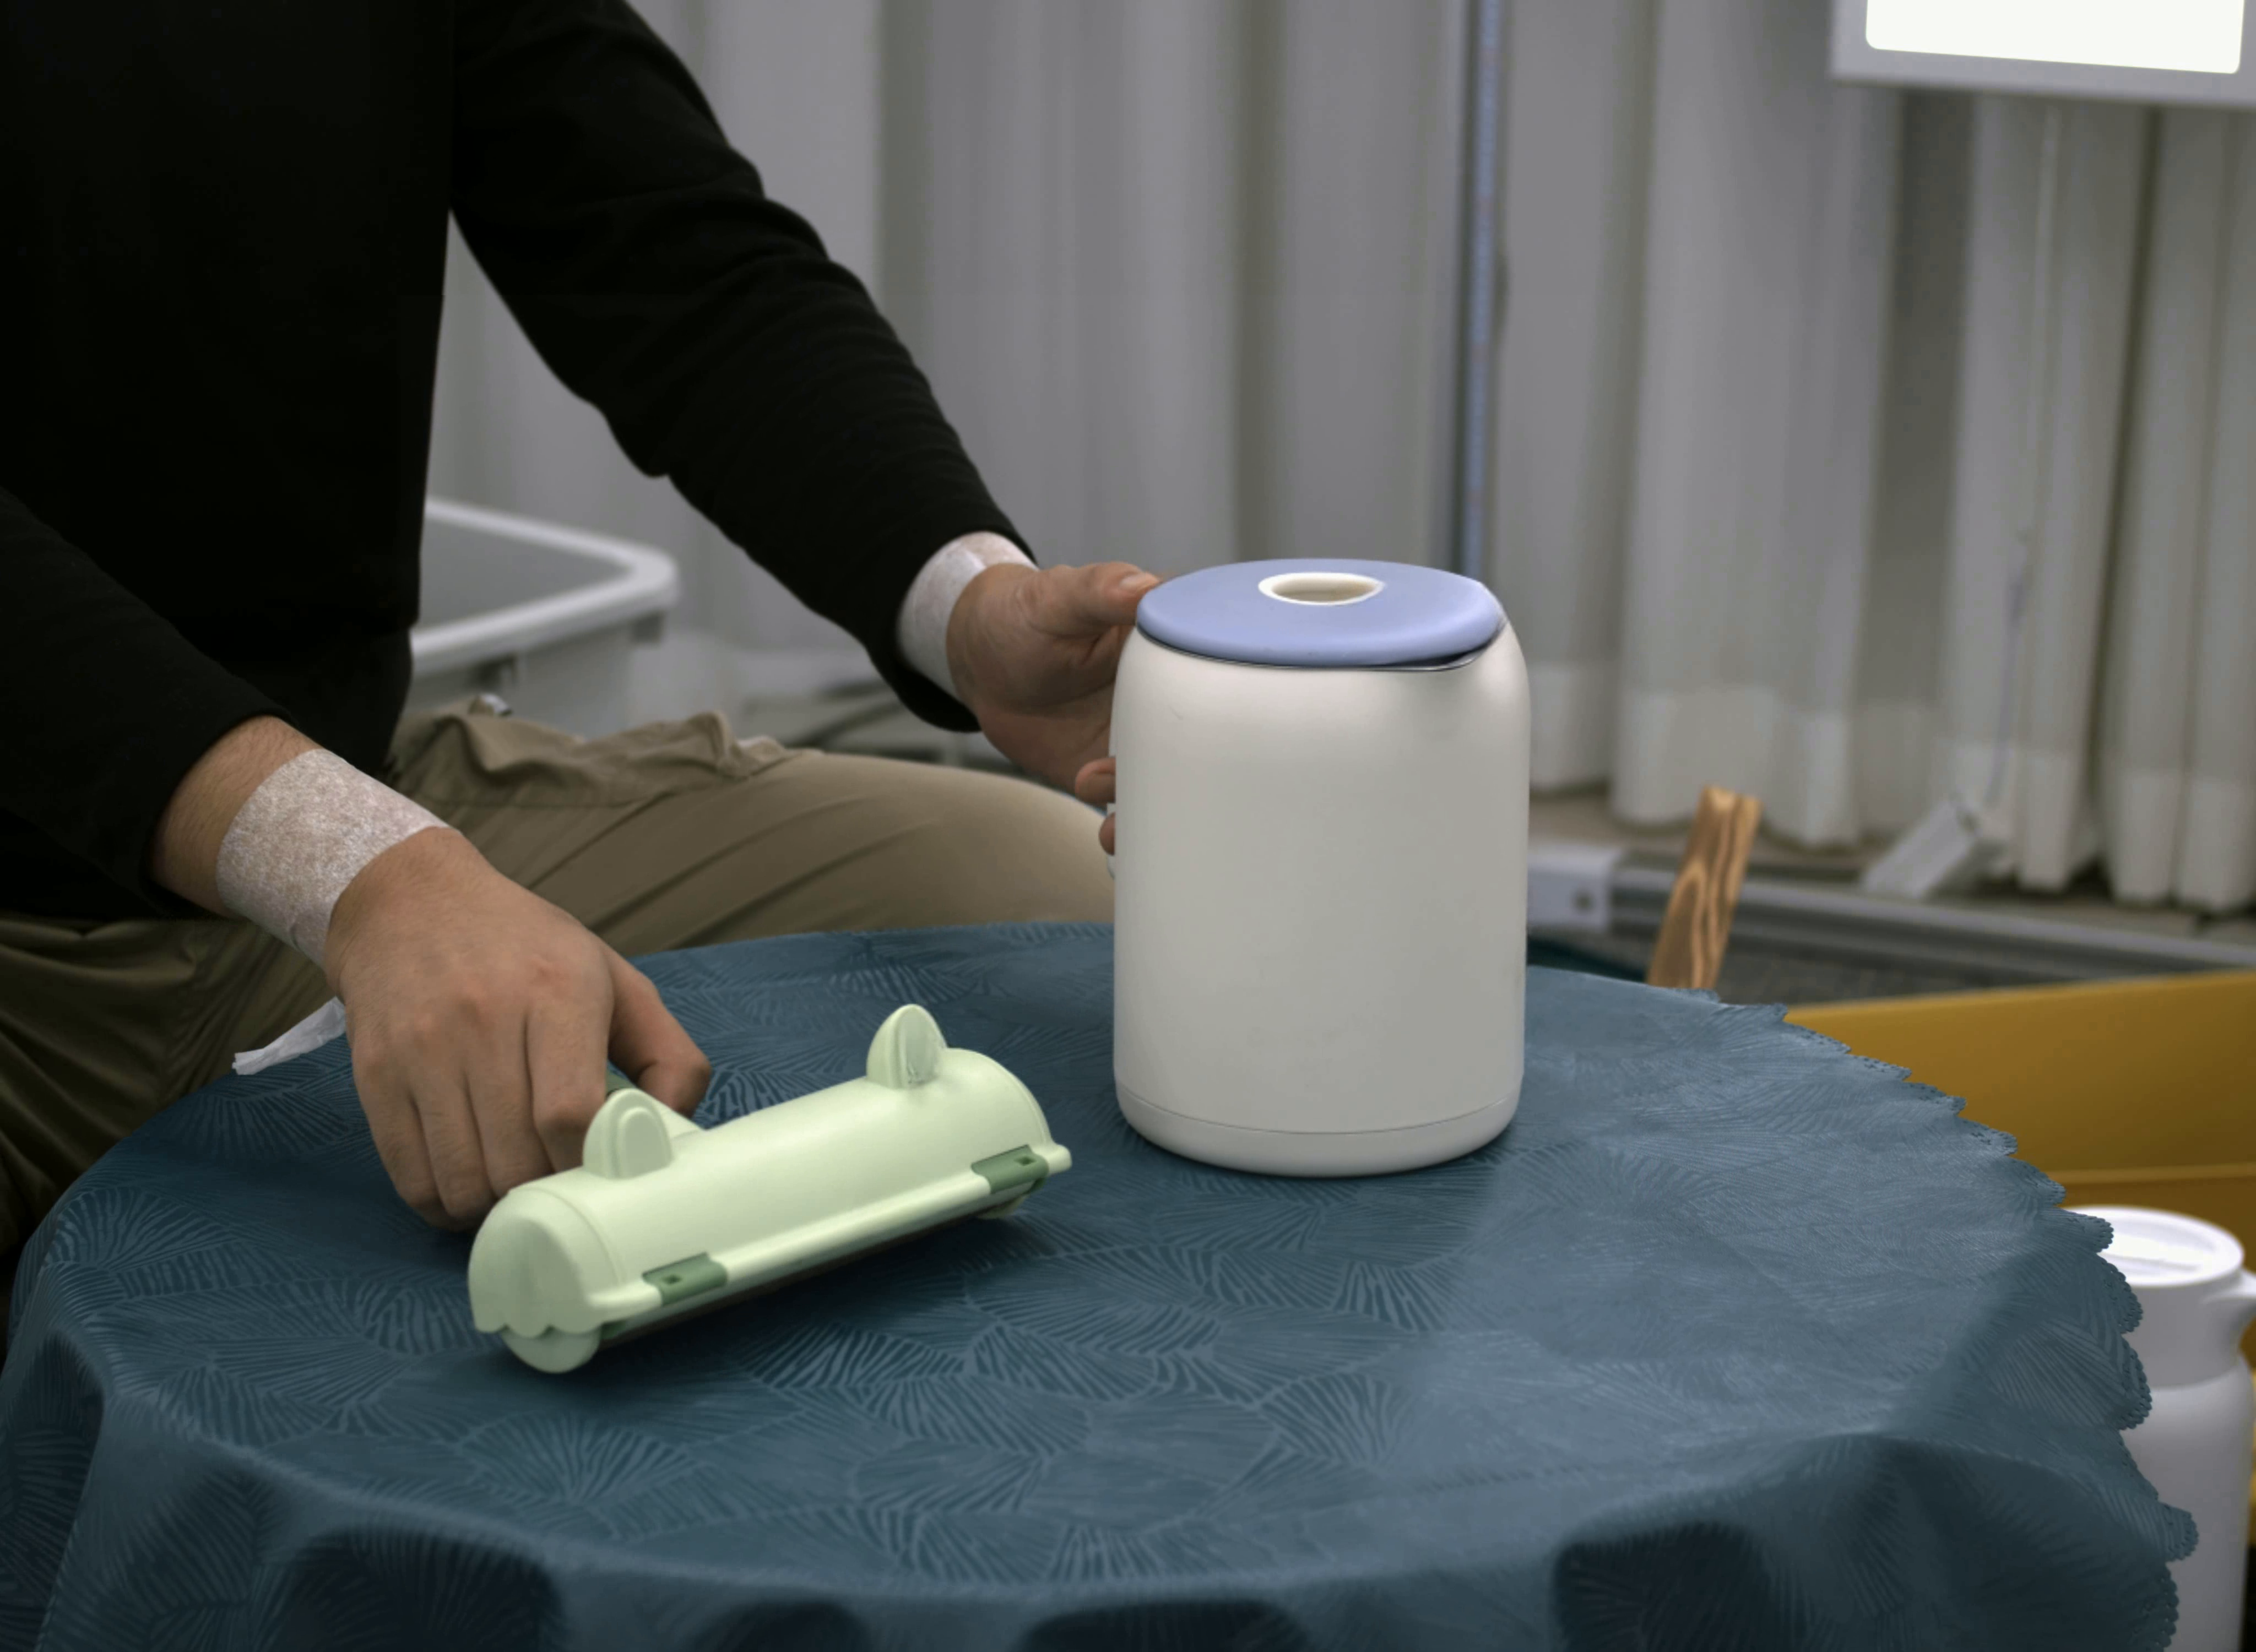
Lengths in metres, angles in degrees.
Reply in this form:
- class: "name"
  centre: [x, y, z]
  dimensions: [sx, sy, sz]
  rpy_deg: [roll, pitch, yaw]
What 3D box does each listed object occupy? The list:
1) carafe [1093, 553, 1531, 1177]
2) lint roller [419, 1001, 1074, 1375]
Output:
- class: "carafe"
  centre: [0.048, 0.006, 1.683]
  dimensions: [0.133, 0.184, 0.188]
  rpy_deg: [-10, 17, -33]
- class: "lint roller"
  centre: [-0.142, 0.081, 1.550]
  dimensions: [0.181, 0.083, 0.199]
  rpy_deg: [30, 29, 33]
